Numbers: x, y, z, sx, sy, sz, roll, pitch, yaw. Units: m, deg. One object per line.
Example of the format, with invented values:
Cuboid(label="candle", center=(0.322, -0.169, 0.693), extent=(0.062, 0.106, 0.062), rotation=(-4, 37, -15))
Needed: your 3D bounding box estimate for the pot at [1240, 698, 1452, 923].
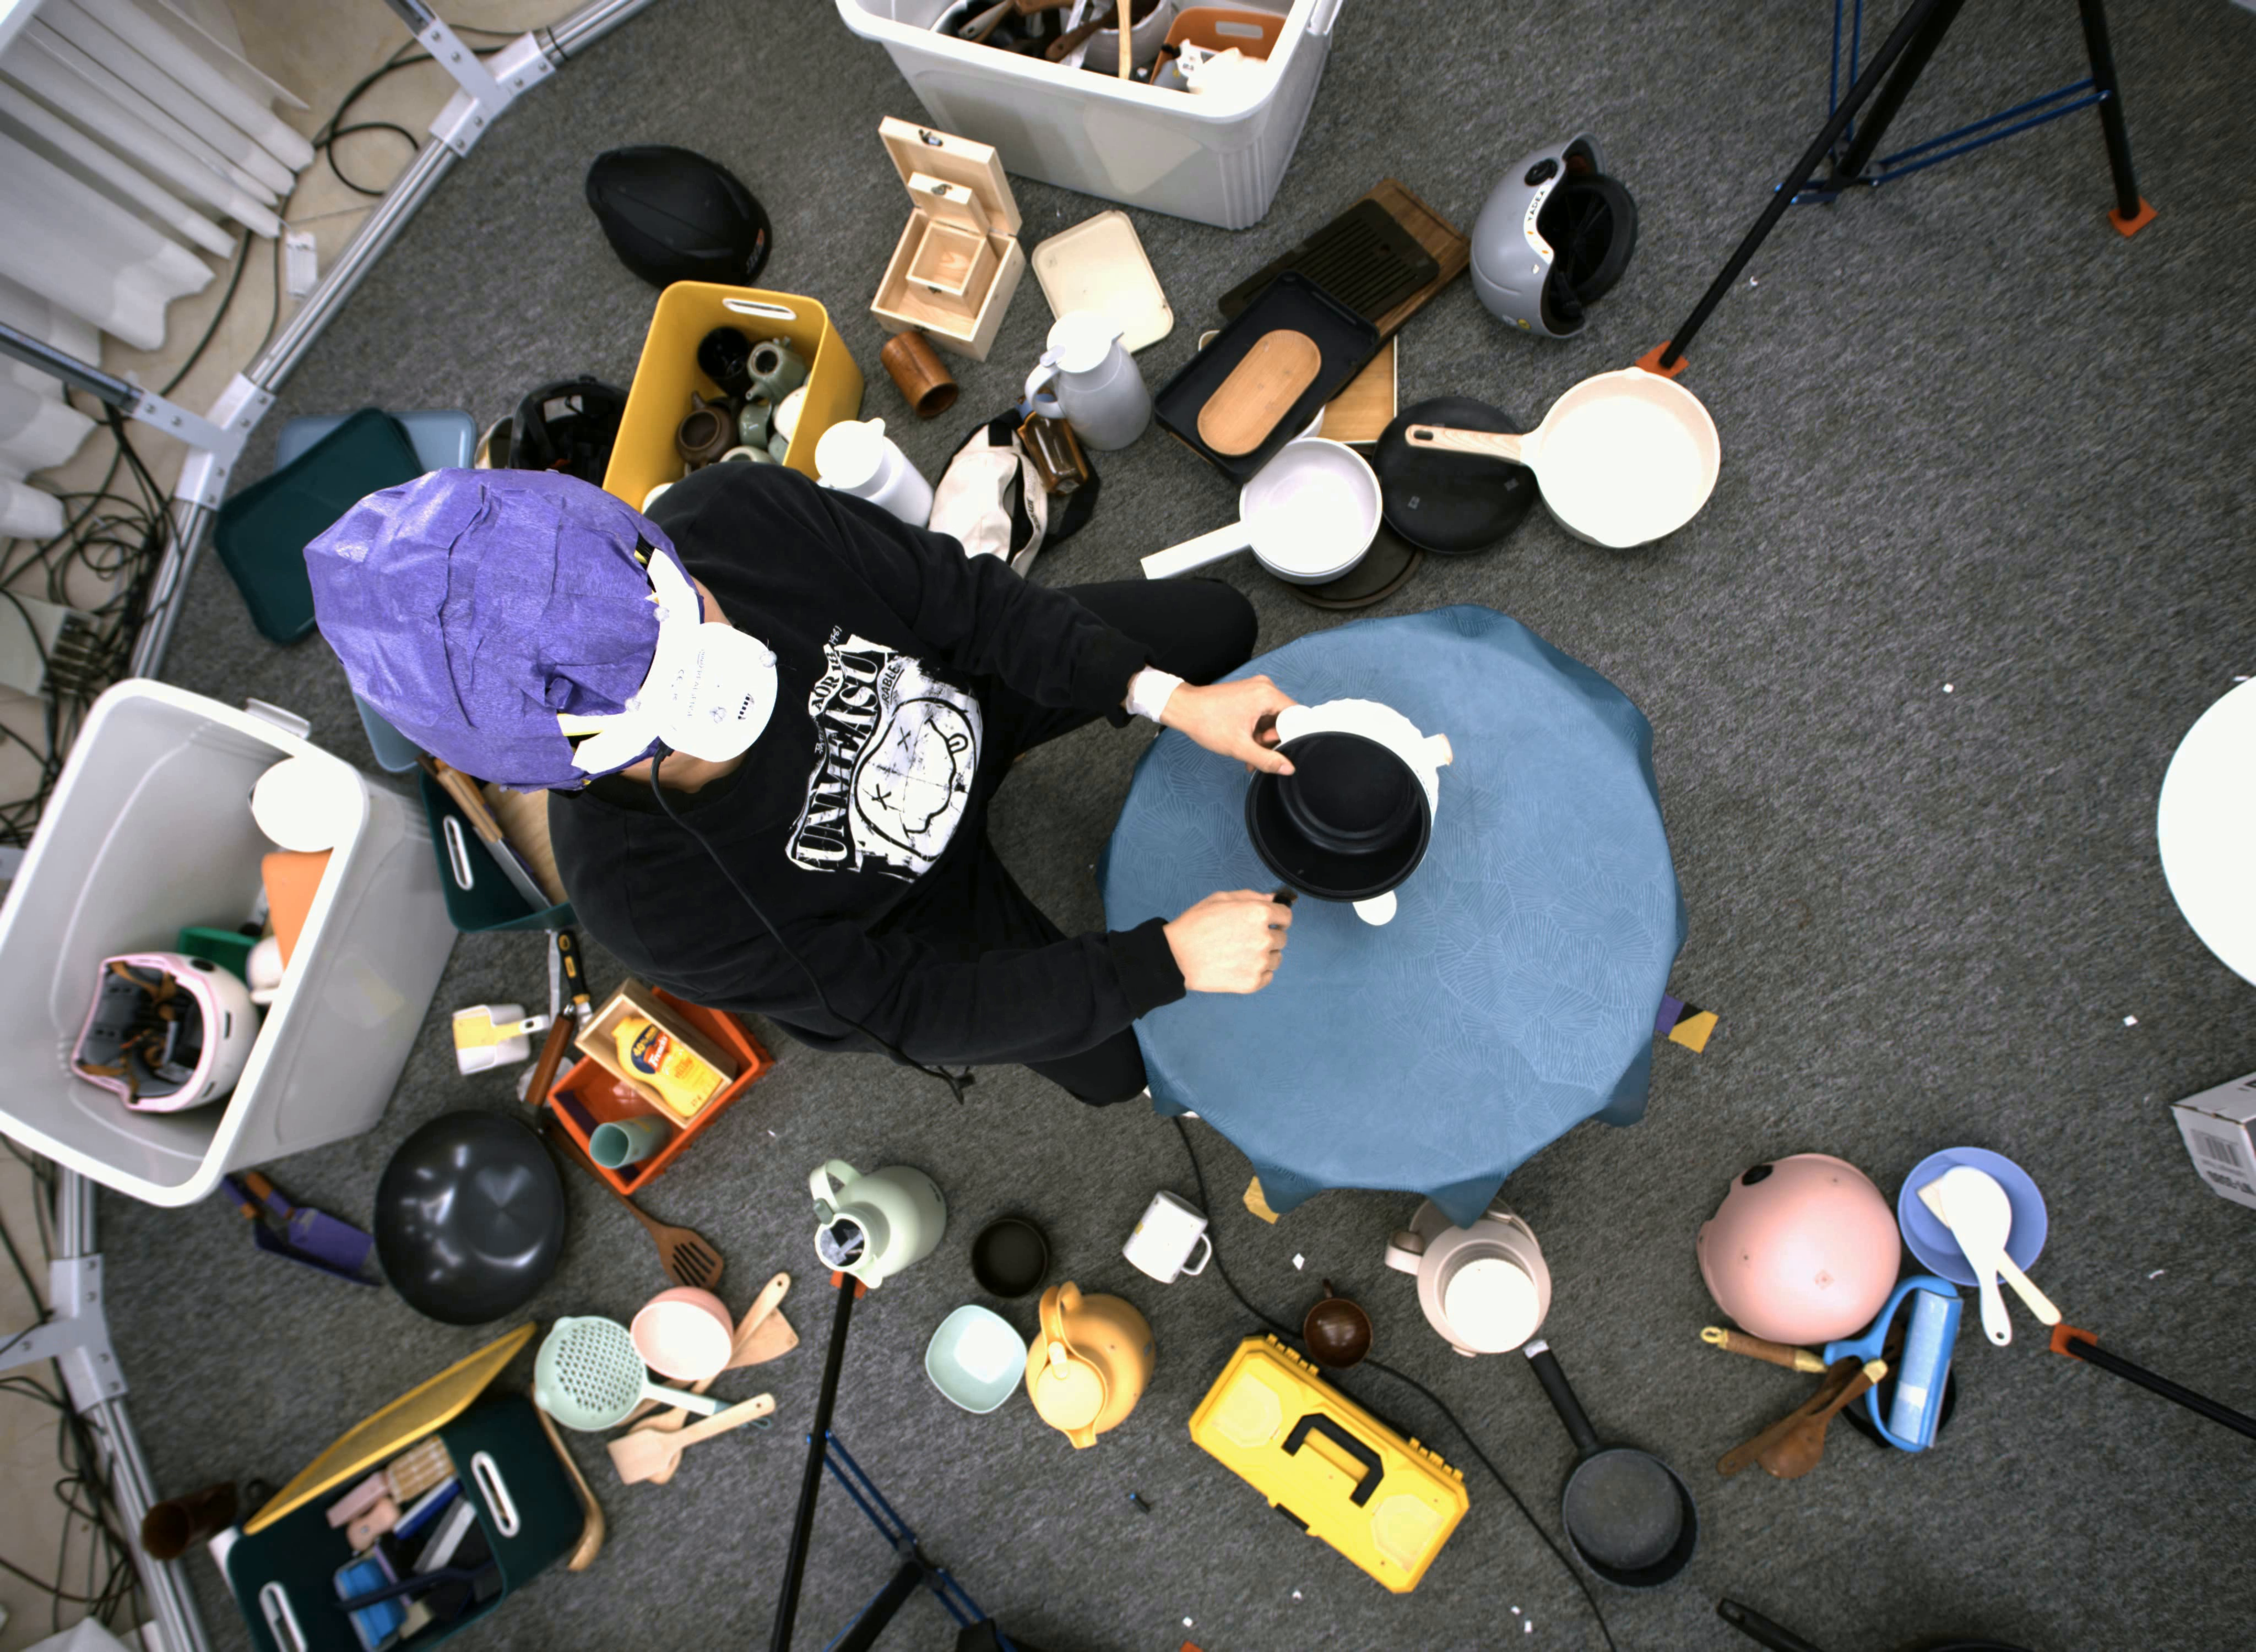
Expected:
Cuboid(label="pot", center=(0.224, -0.037, 1.381), extent=(0.193, 0.139, 0.243), rotation=(-17, 111, 30))

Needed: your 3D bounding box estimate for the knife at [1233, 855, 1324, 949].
Cuboid(label="knife", center=(0.154, 0.068, 1.342), extent=(0.026, 0.221, 0.017), rotation=(-1, 110, 31))
